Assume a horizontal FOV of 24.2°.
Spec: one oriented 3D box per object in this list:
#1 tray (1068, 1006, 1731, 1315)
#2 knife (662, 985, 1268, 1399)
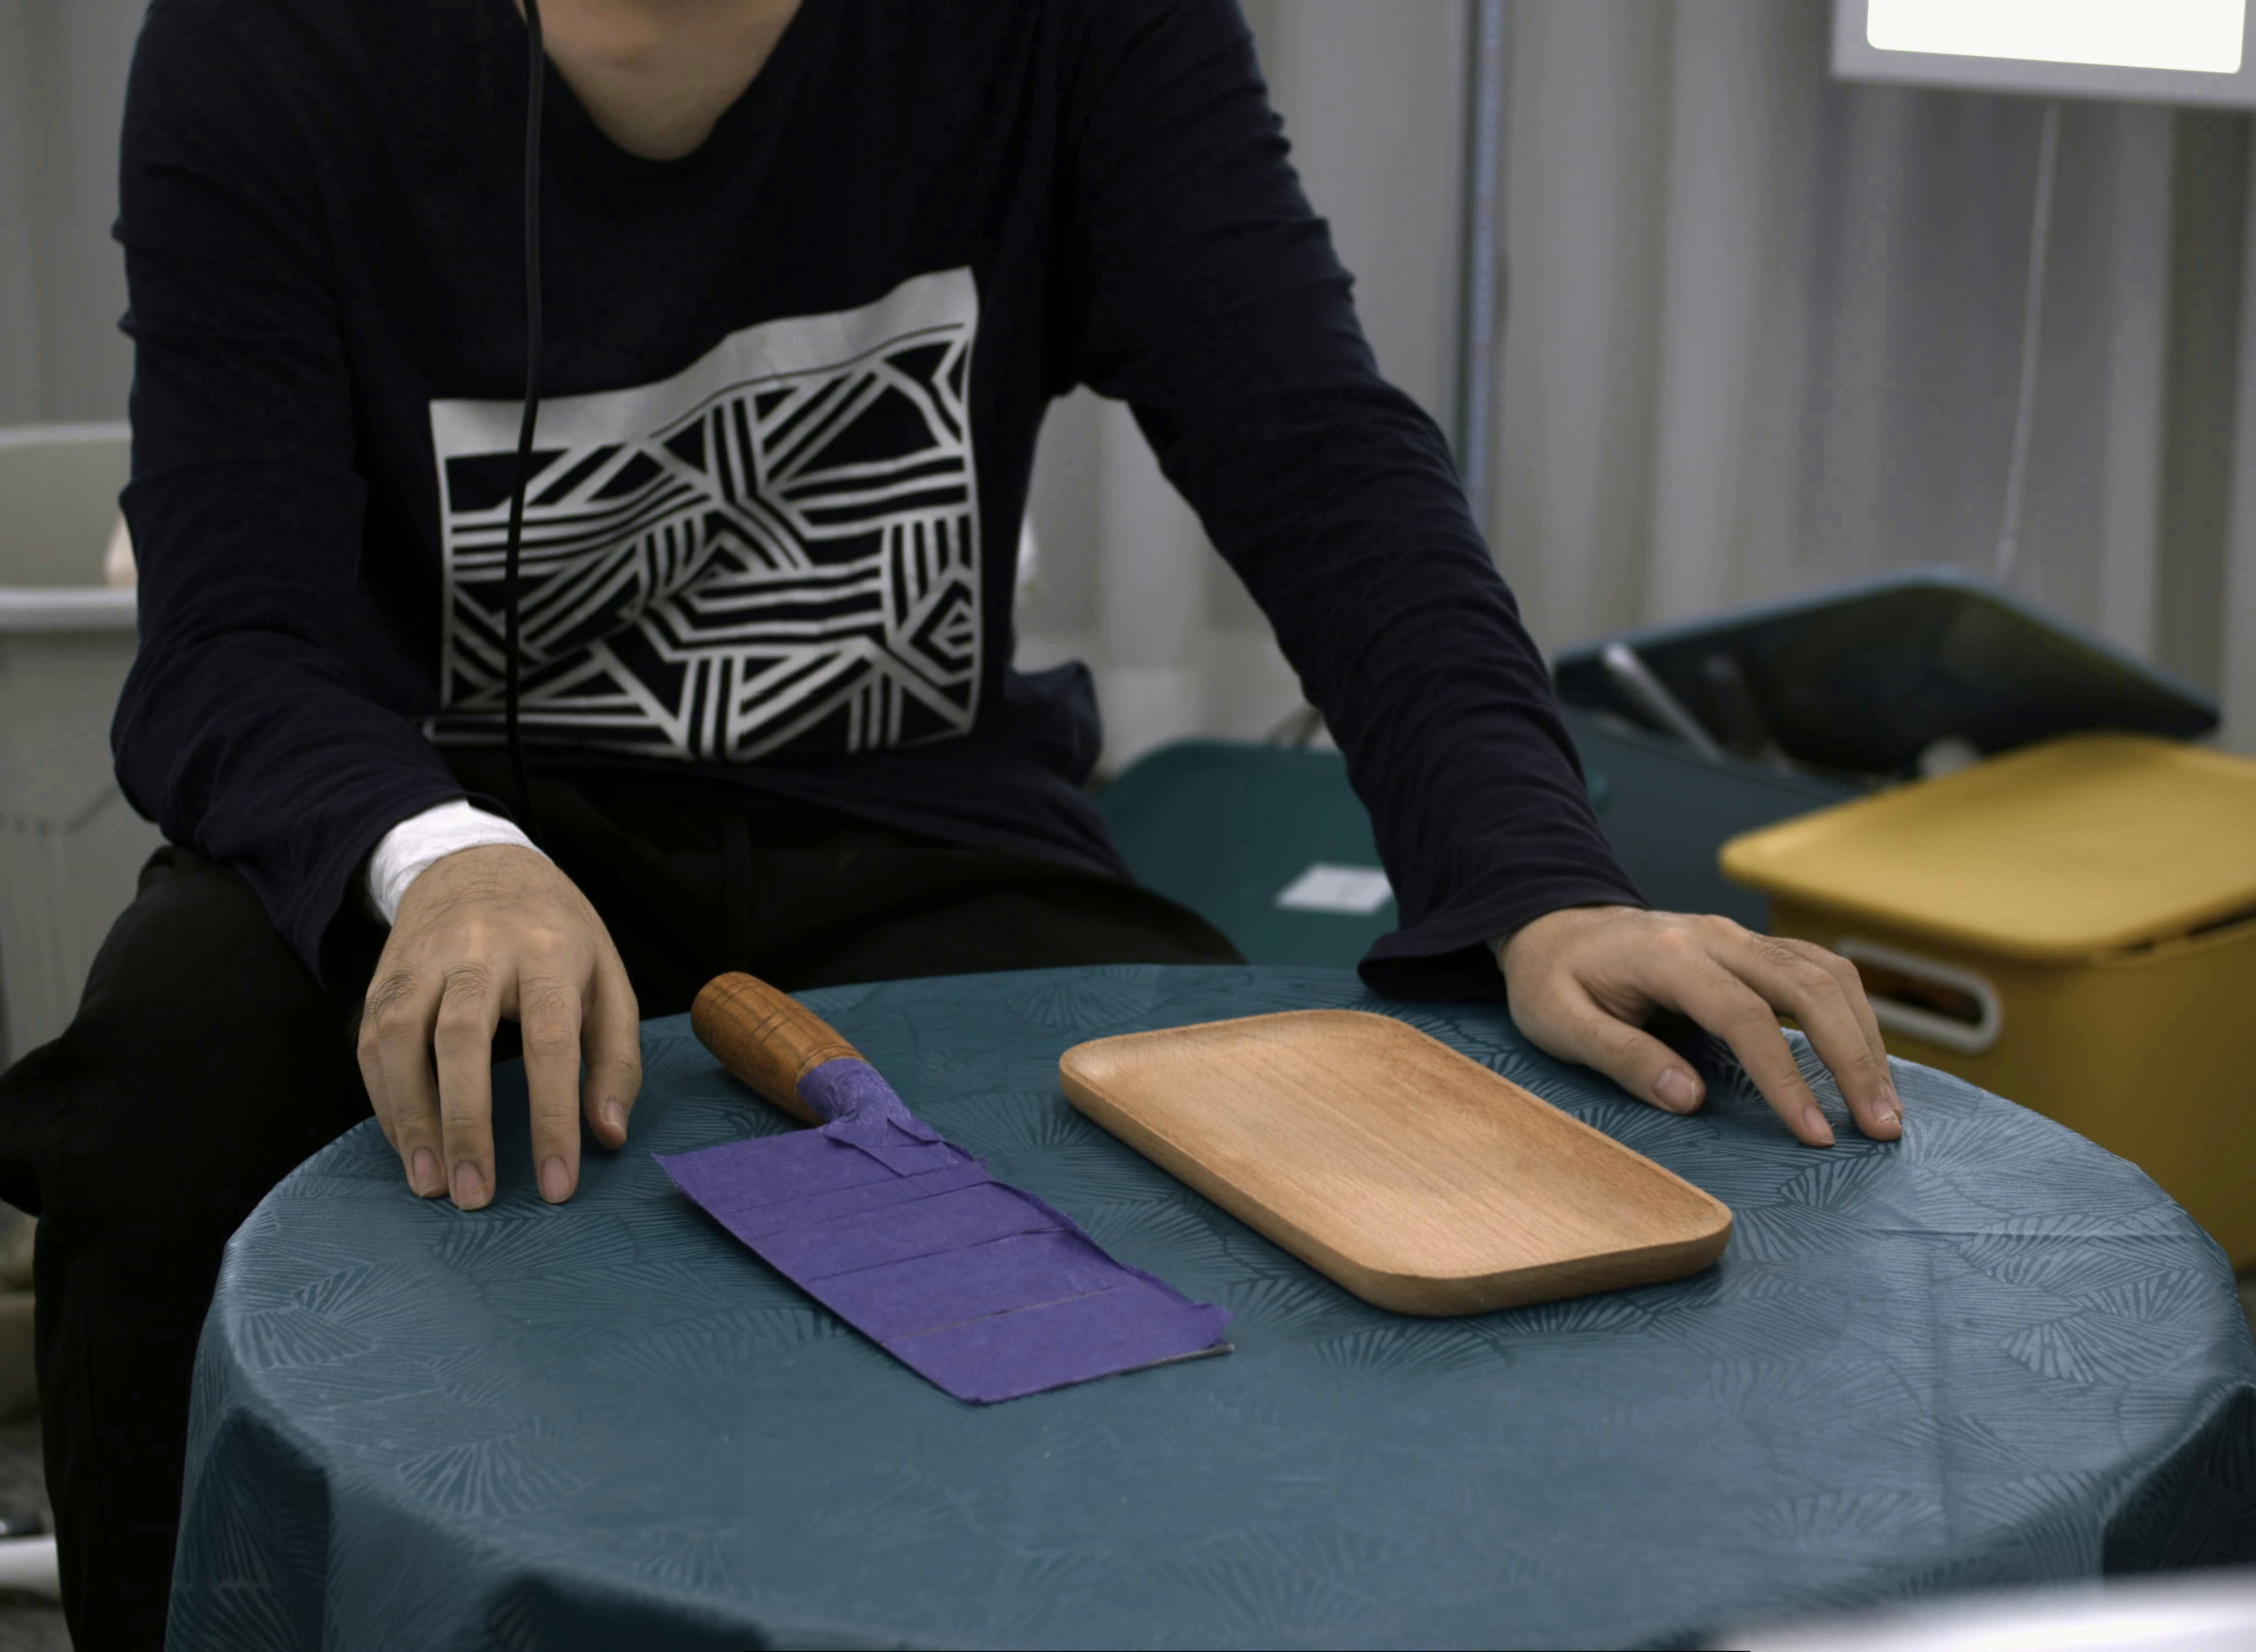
[{"bbox_3d":[0.080,0.101,1.639,0.131,0.023,0.248,-4,15,-23],"label":"tray"},{"bbox_3d":[-0.082,0.107,1.593,0.104,0.032,0.311,-8,18,-30],"label":"knife"}]
